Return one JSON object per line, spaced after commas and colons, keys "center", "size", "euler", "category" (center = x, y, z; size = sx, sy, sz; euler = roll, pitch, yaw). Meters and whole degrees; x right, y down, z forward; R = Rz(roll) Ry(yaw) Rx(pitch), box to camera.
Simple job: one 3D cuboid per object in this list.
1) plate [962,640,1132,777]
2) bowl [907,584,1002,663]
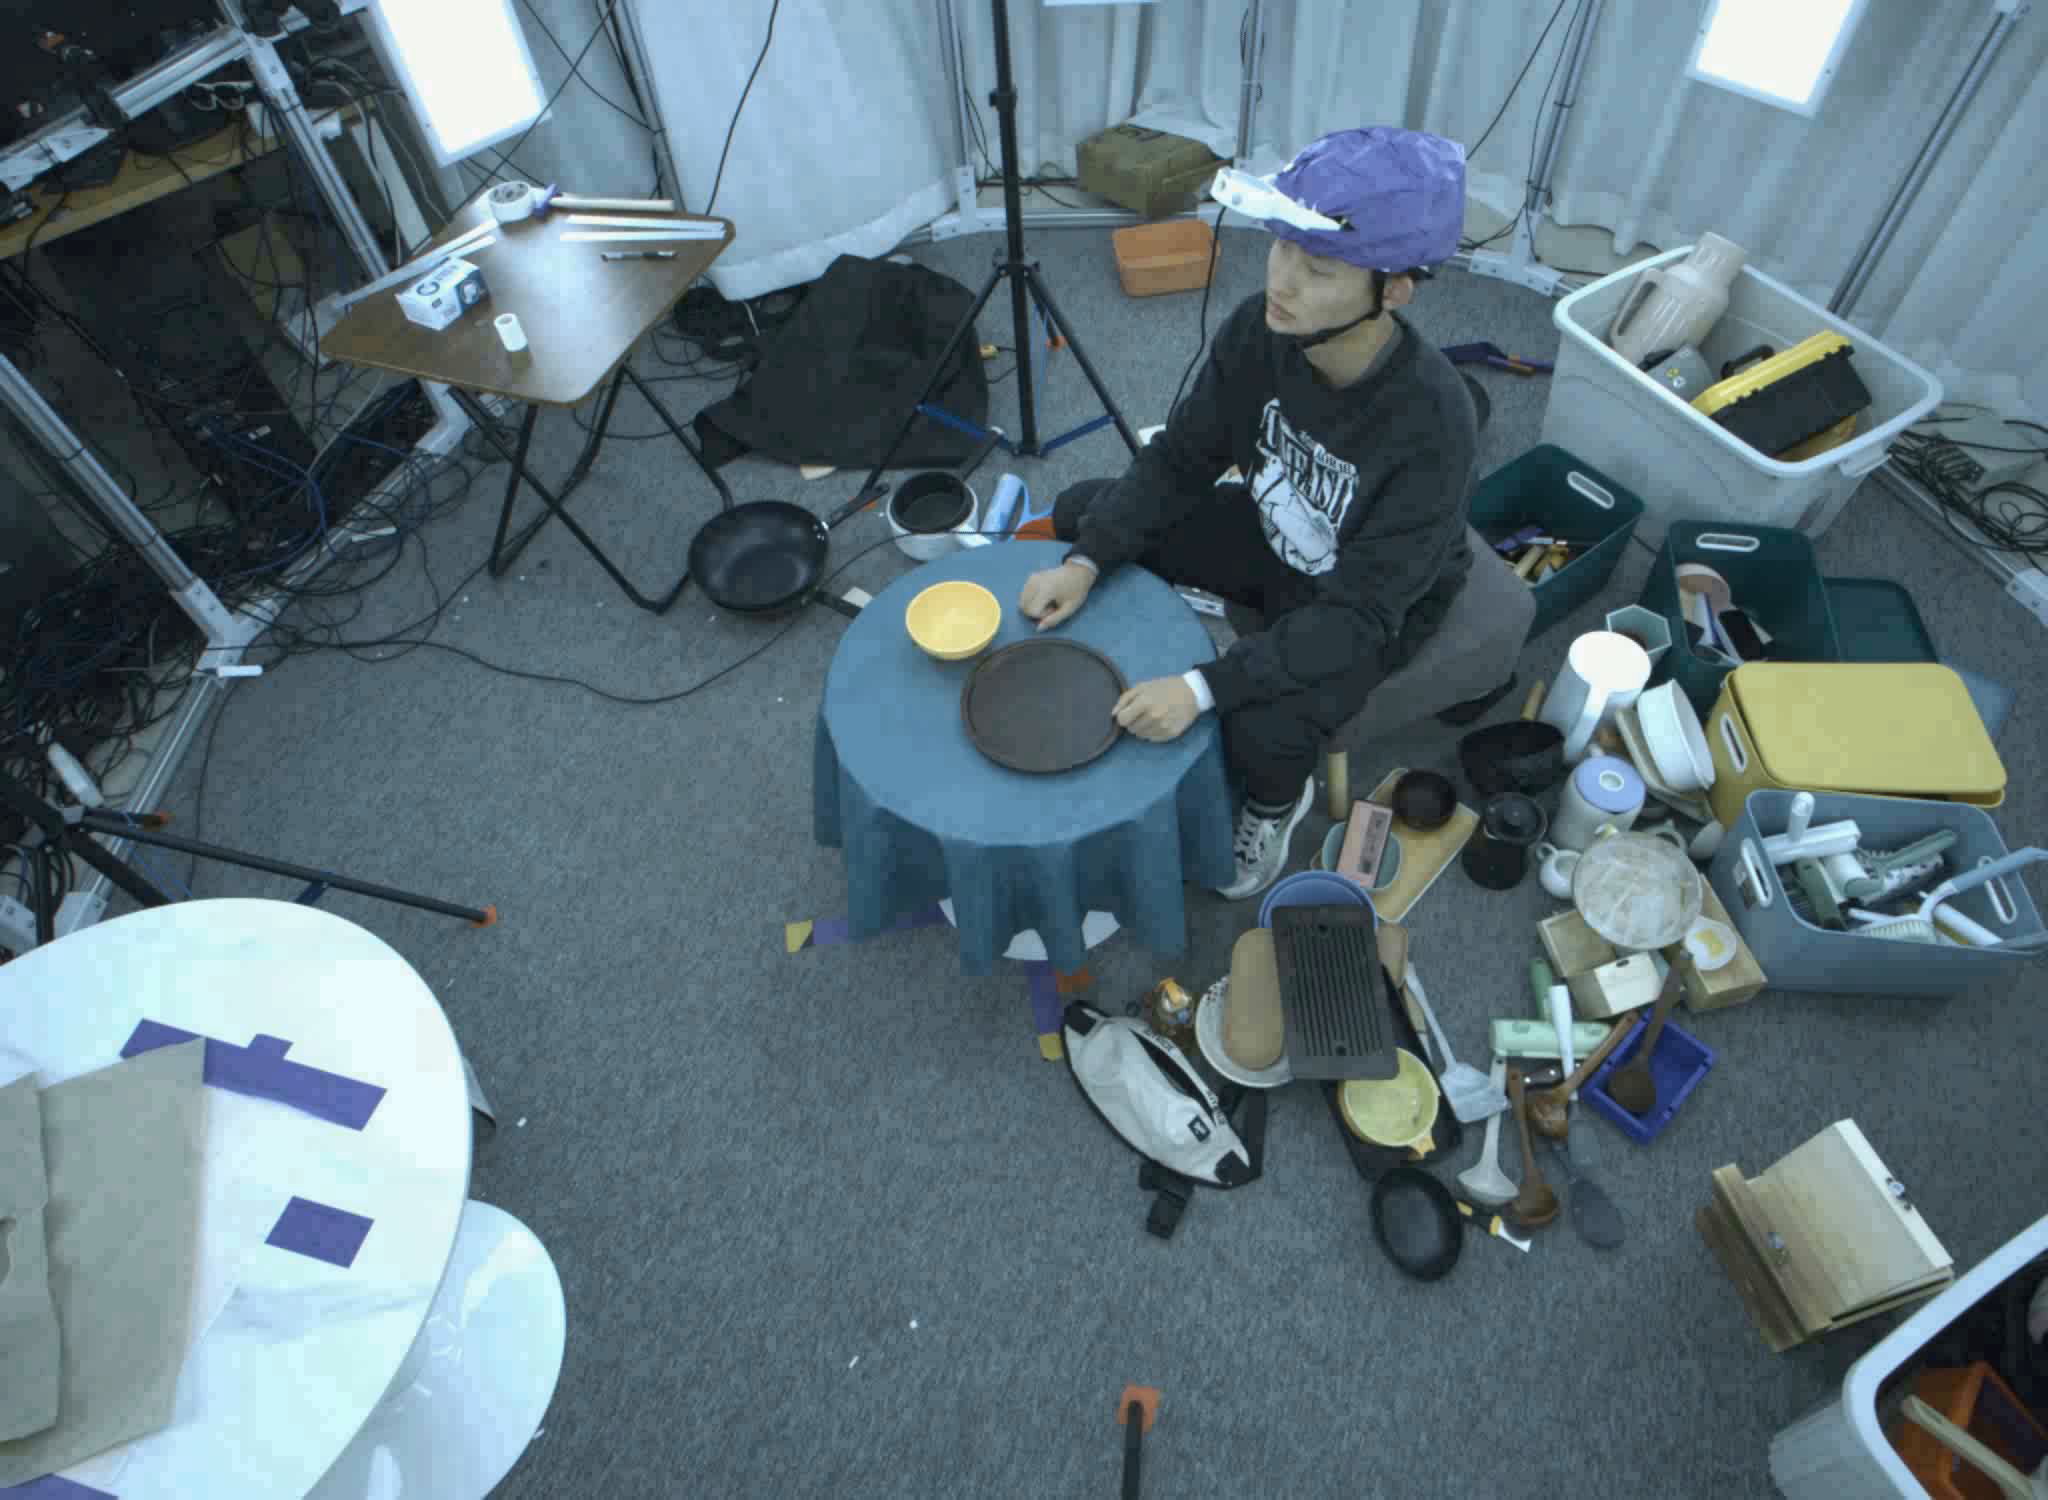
{"center": [0.034, -0.062, 1.827], "size": [0.254, 0.029, 0.252], "euler": [-1, 53, 2], "category": "plate"}
{"center": [-0.106, -0.184, 1.896], "size": [0.145, 0.060, 0.144], "euler": [1, 55, 0], "category": "bowl"}
